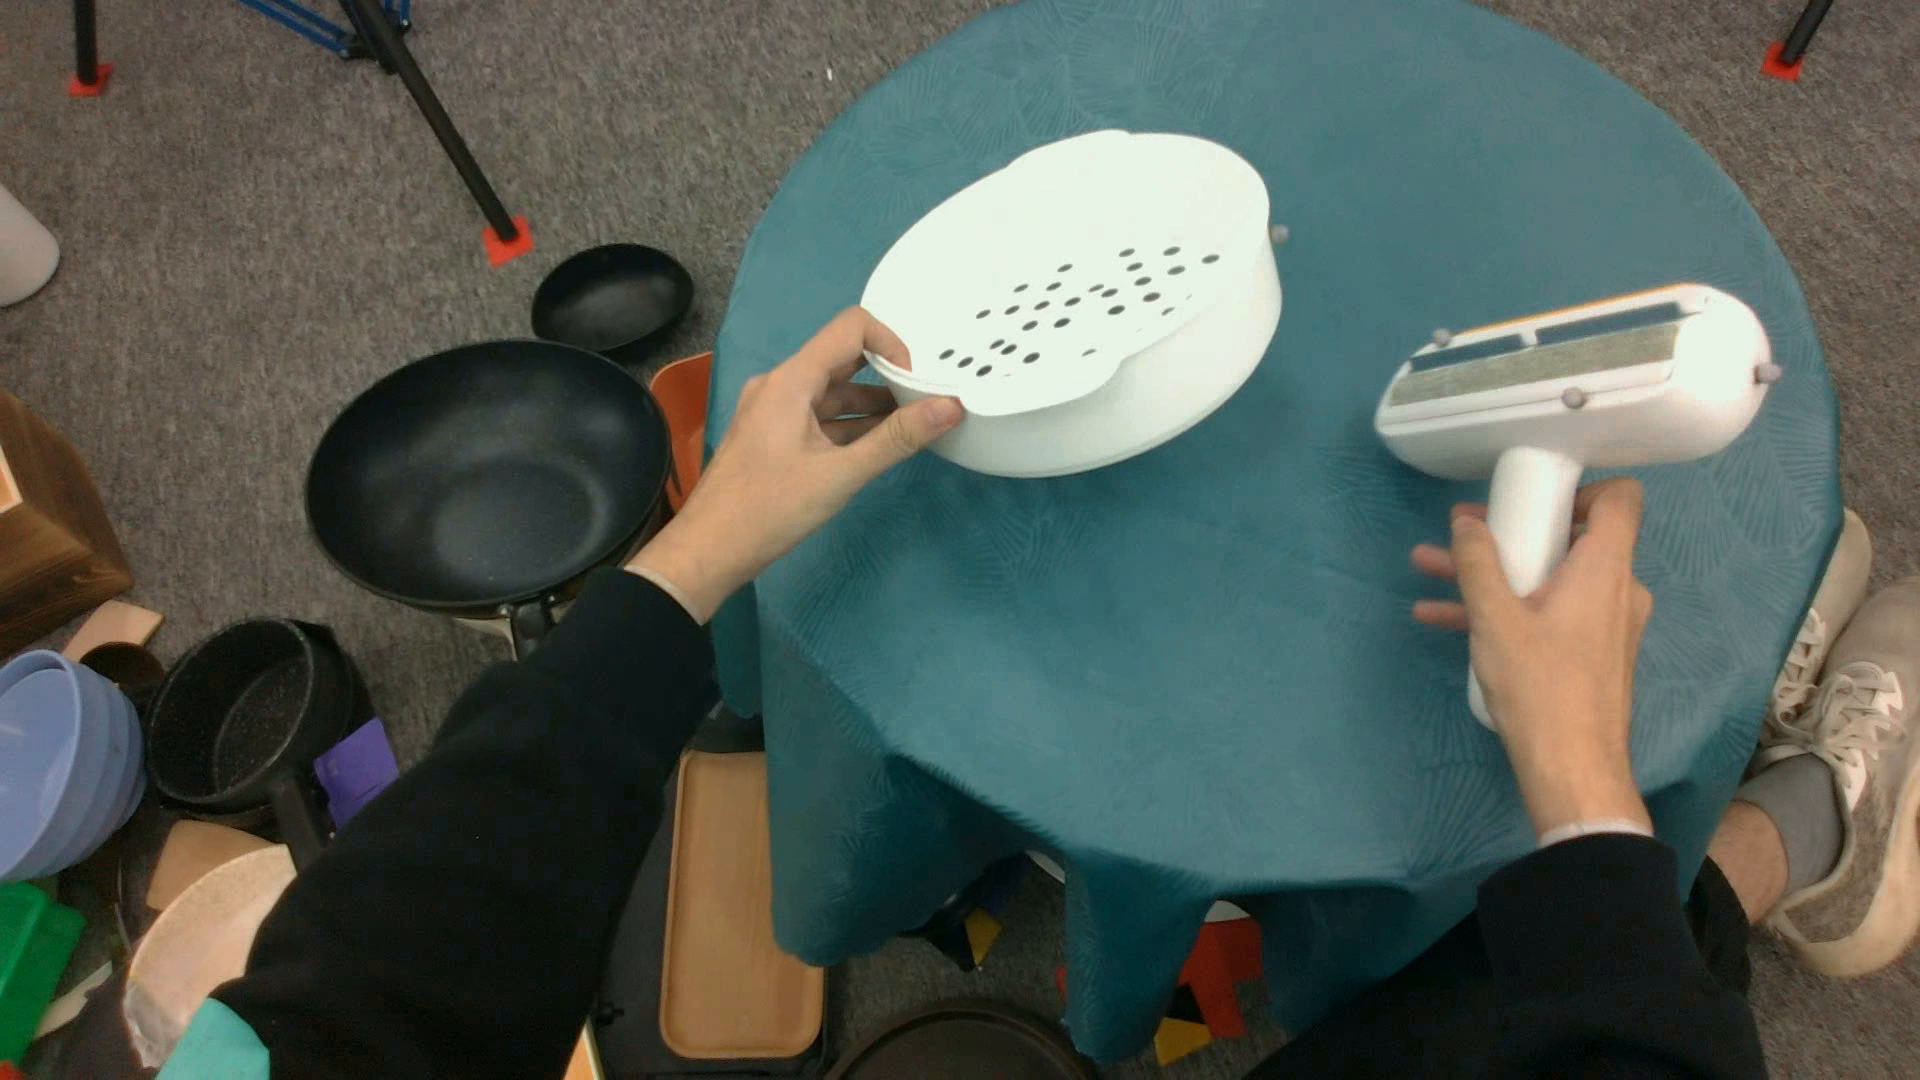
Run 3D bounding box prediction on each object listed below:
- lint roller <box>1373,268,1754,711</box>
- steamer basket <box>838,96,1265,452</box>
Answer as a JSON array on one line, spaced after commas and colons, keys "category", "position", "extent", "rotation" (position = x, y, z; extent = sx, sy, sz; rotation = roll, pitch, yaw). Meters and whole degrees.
[{"category": "lint roller", "position": [0.242, -0.020, 0.611], "extent": [0.074, 0.192, 0.192], "rotation": [24, 86, -21]}, {"category": "steamer basket", "position": [0.044, -0.129, 0.666], "extent": [0.201, 0.069, 0.232], "rotation": [-12, 43, 19]}]
